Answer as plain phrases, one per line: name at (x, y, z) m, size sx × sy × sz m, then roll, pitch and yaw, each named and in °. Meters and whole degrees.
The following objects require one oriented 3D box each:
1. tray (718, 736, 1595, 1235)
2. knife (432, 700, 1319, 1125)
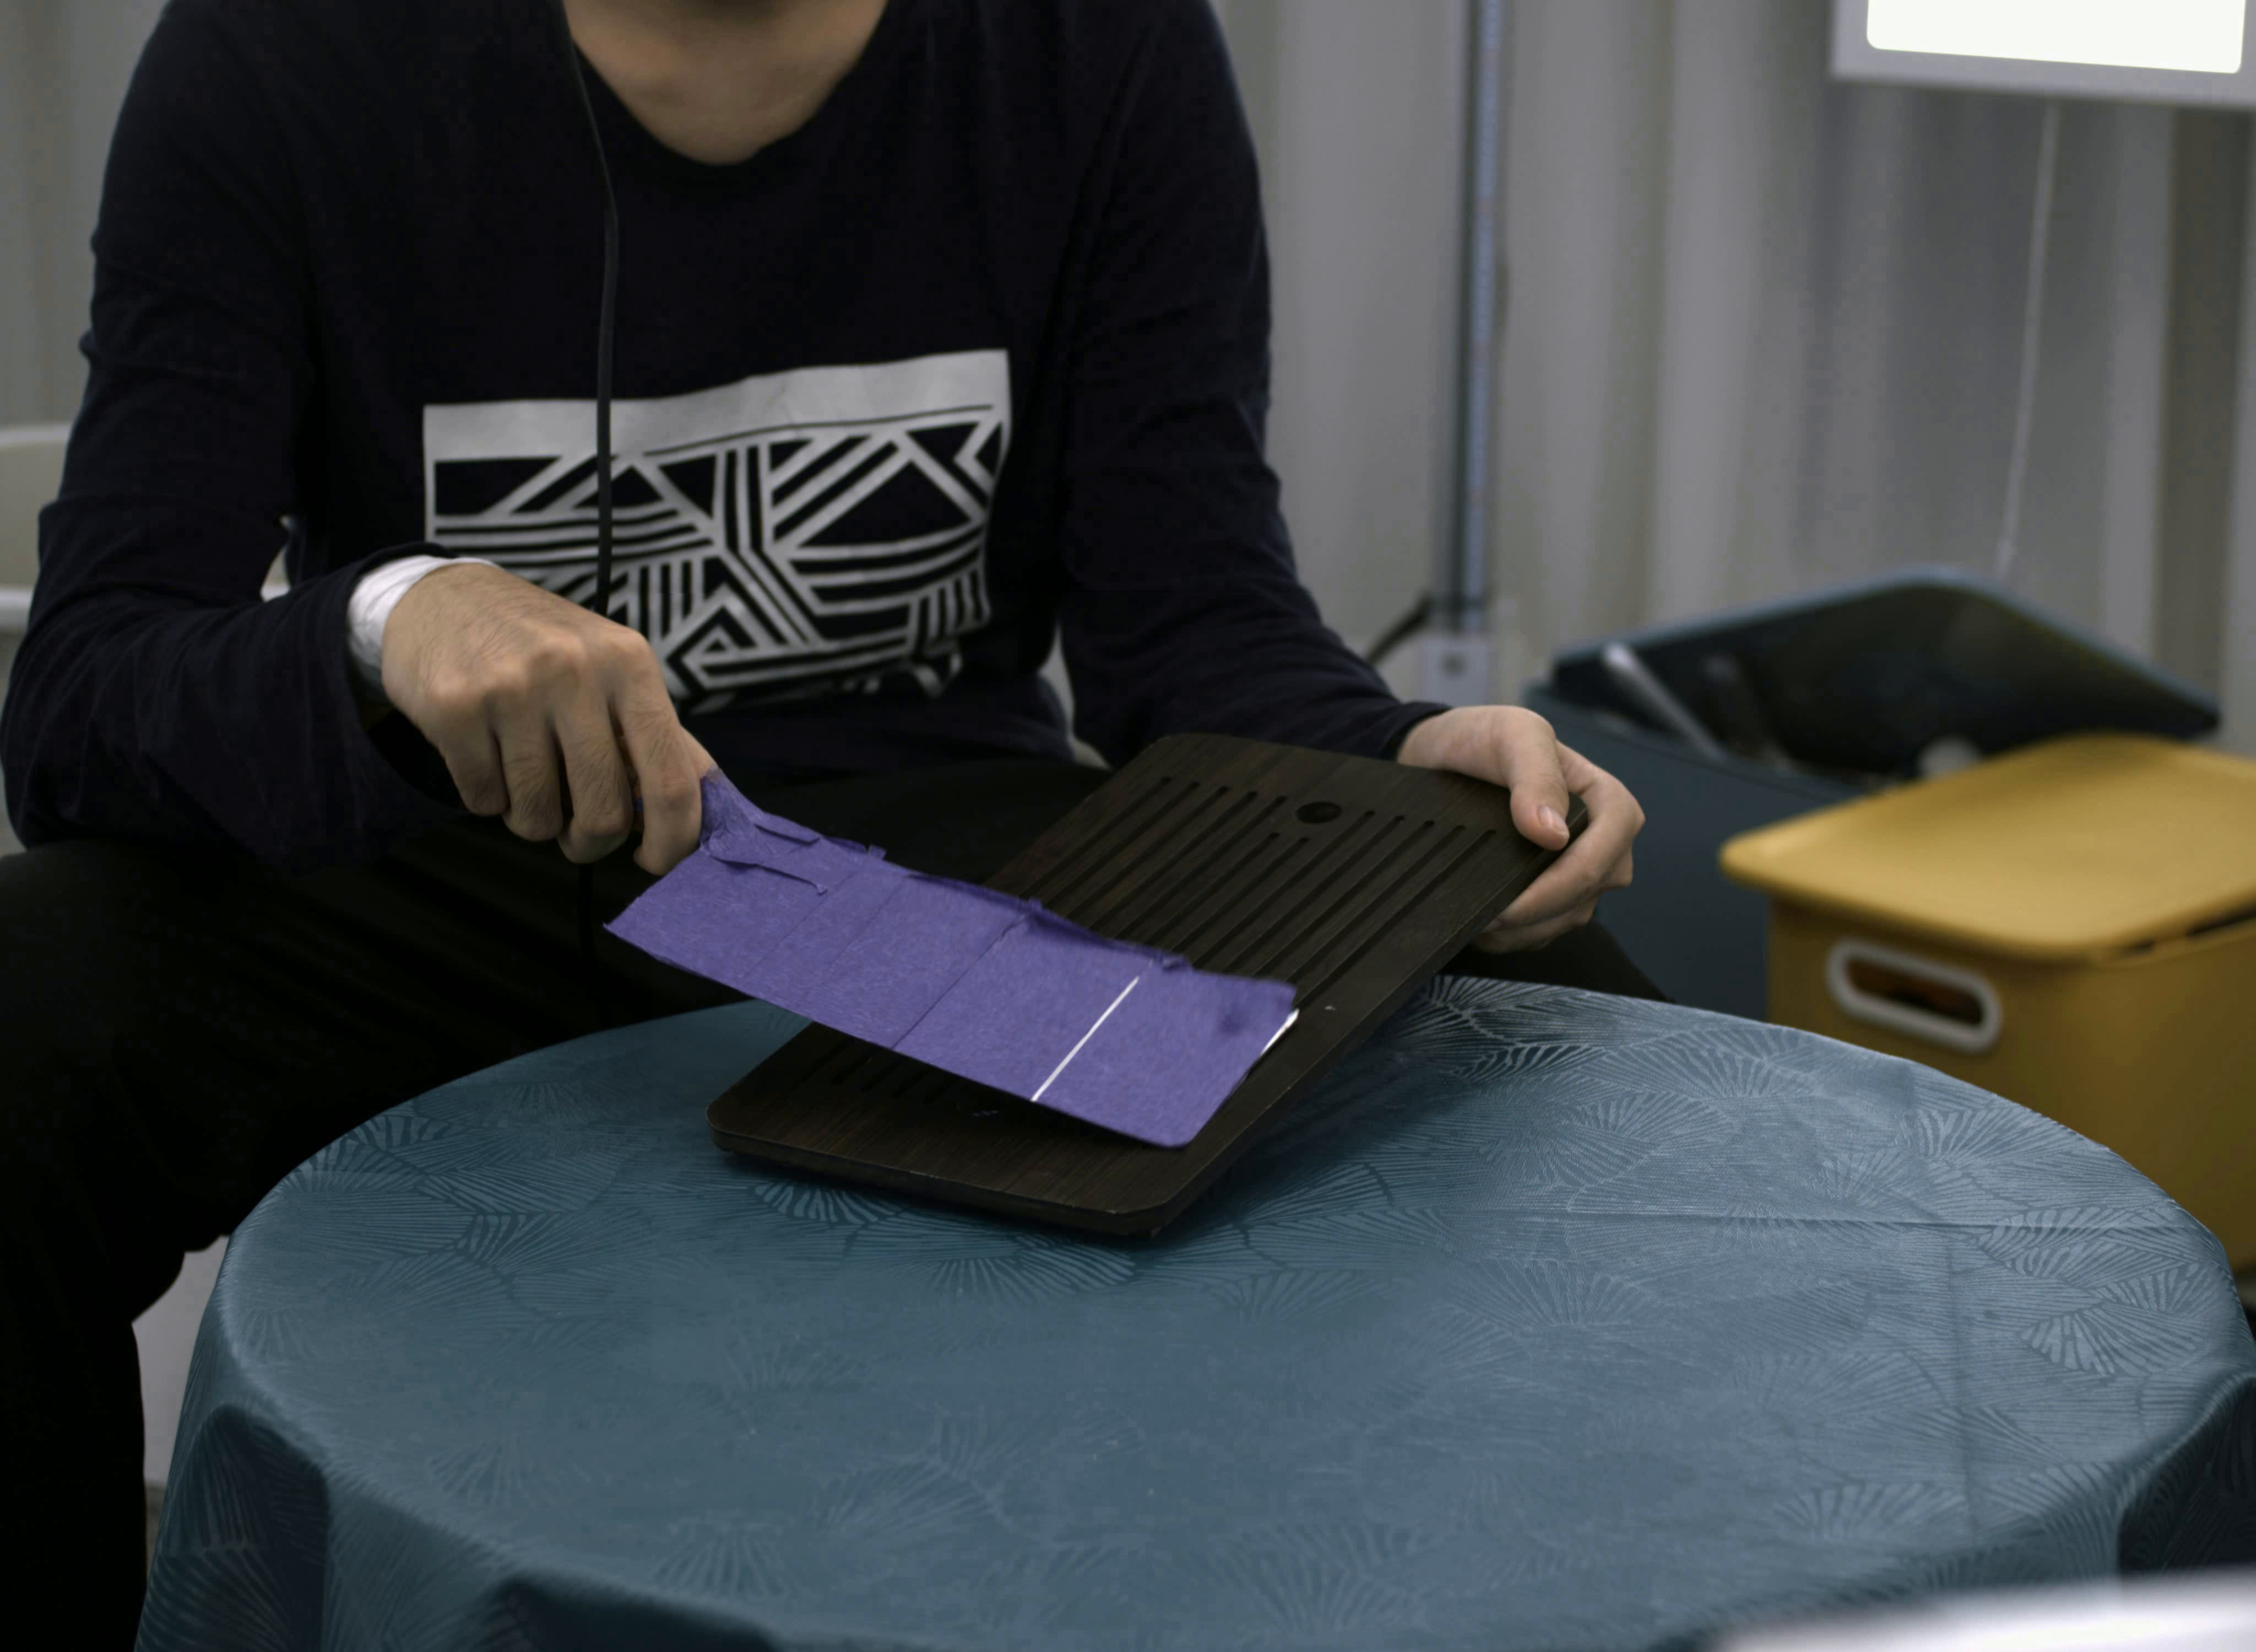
tray at (0.016, 0.049, 1.717) m, size 0.168 × 0.019 × 0.306 m, roll 10°, pitch 29°, yaw 30°
knife at (-0.099, 0.026, 1.679) m, size 0.312 × 0.032 × 0.104 m, roll 16°, pitch 35°, yaw 20°
